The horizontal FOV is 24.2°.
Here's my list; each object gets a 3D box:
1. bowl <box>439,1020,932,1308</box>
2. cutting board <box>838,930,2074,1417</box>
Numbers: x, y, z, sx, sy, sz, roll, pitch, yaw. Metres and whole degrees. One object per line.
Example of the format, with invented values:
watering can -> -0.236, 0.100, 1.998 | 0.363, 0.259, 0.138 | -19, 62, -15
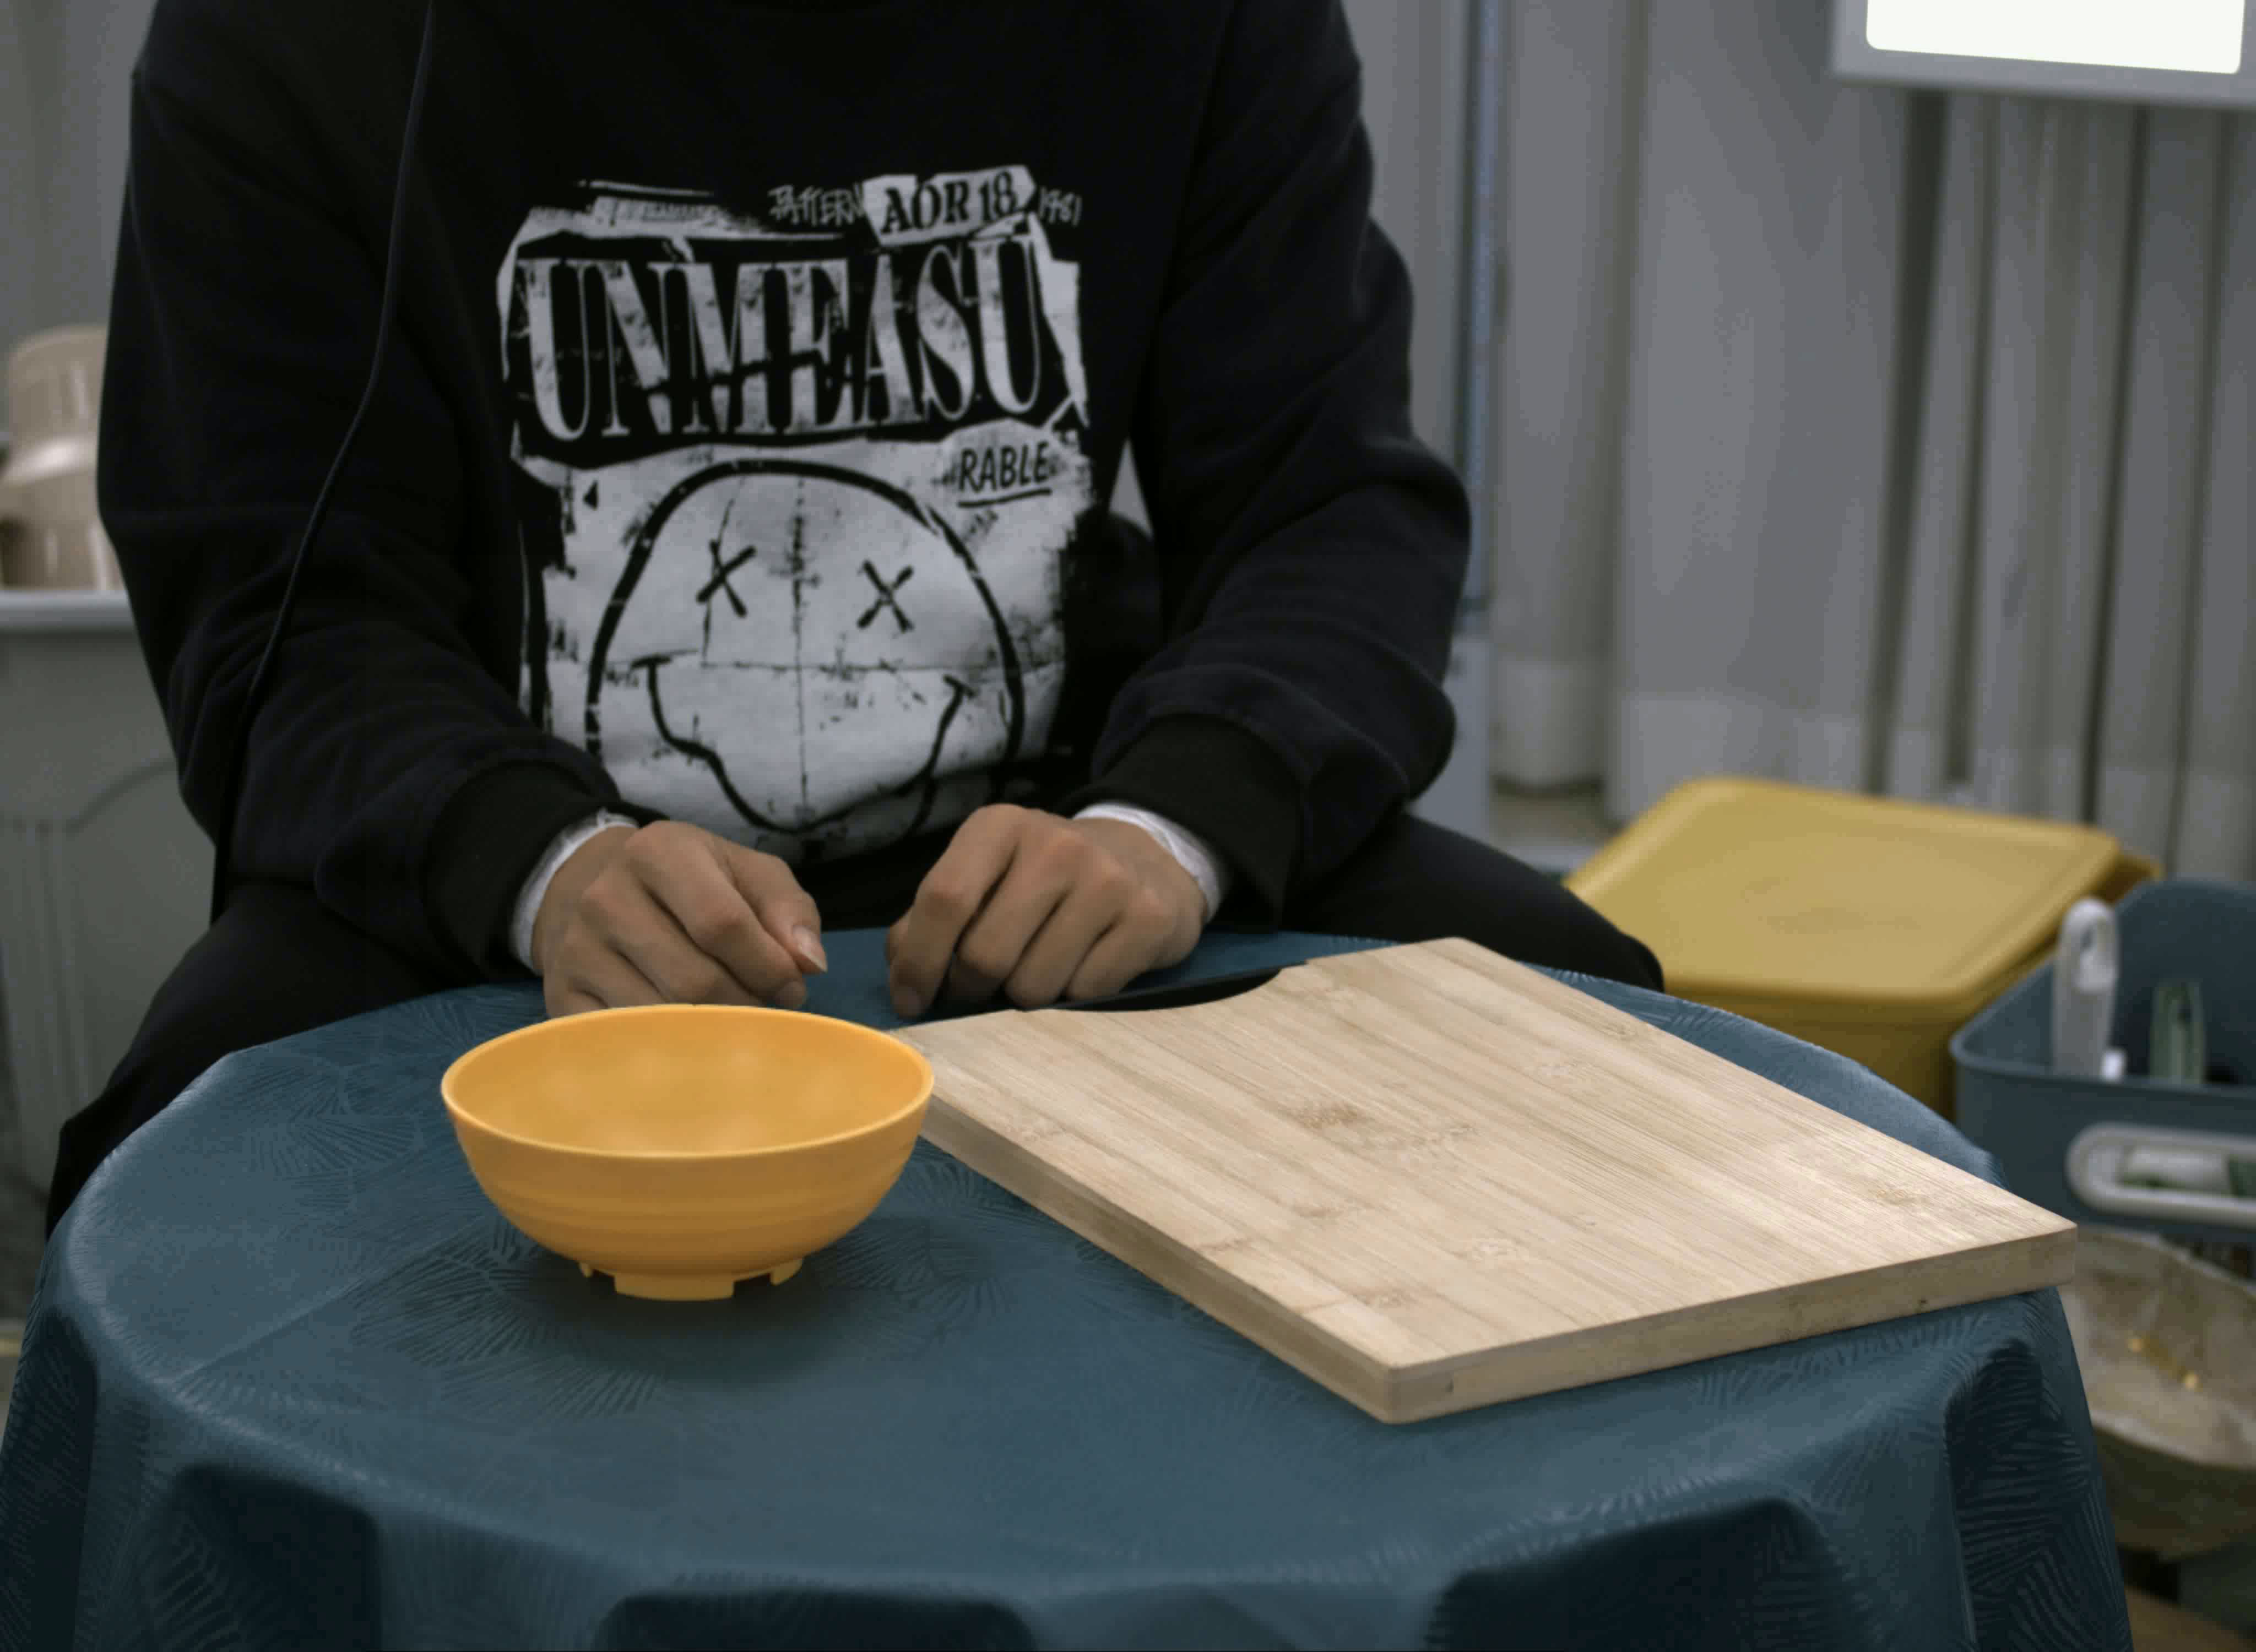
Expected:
bowl -> -0.130, 0.104, 1.551 | 0.145, 0.060, 0.144 | 2, 13, 0
cutting board -> 0.092, 0.101, 1.641 | 0.252, 0.024, 0.344 | -8, 18, -30
